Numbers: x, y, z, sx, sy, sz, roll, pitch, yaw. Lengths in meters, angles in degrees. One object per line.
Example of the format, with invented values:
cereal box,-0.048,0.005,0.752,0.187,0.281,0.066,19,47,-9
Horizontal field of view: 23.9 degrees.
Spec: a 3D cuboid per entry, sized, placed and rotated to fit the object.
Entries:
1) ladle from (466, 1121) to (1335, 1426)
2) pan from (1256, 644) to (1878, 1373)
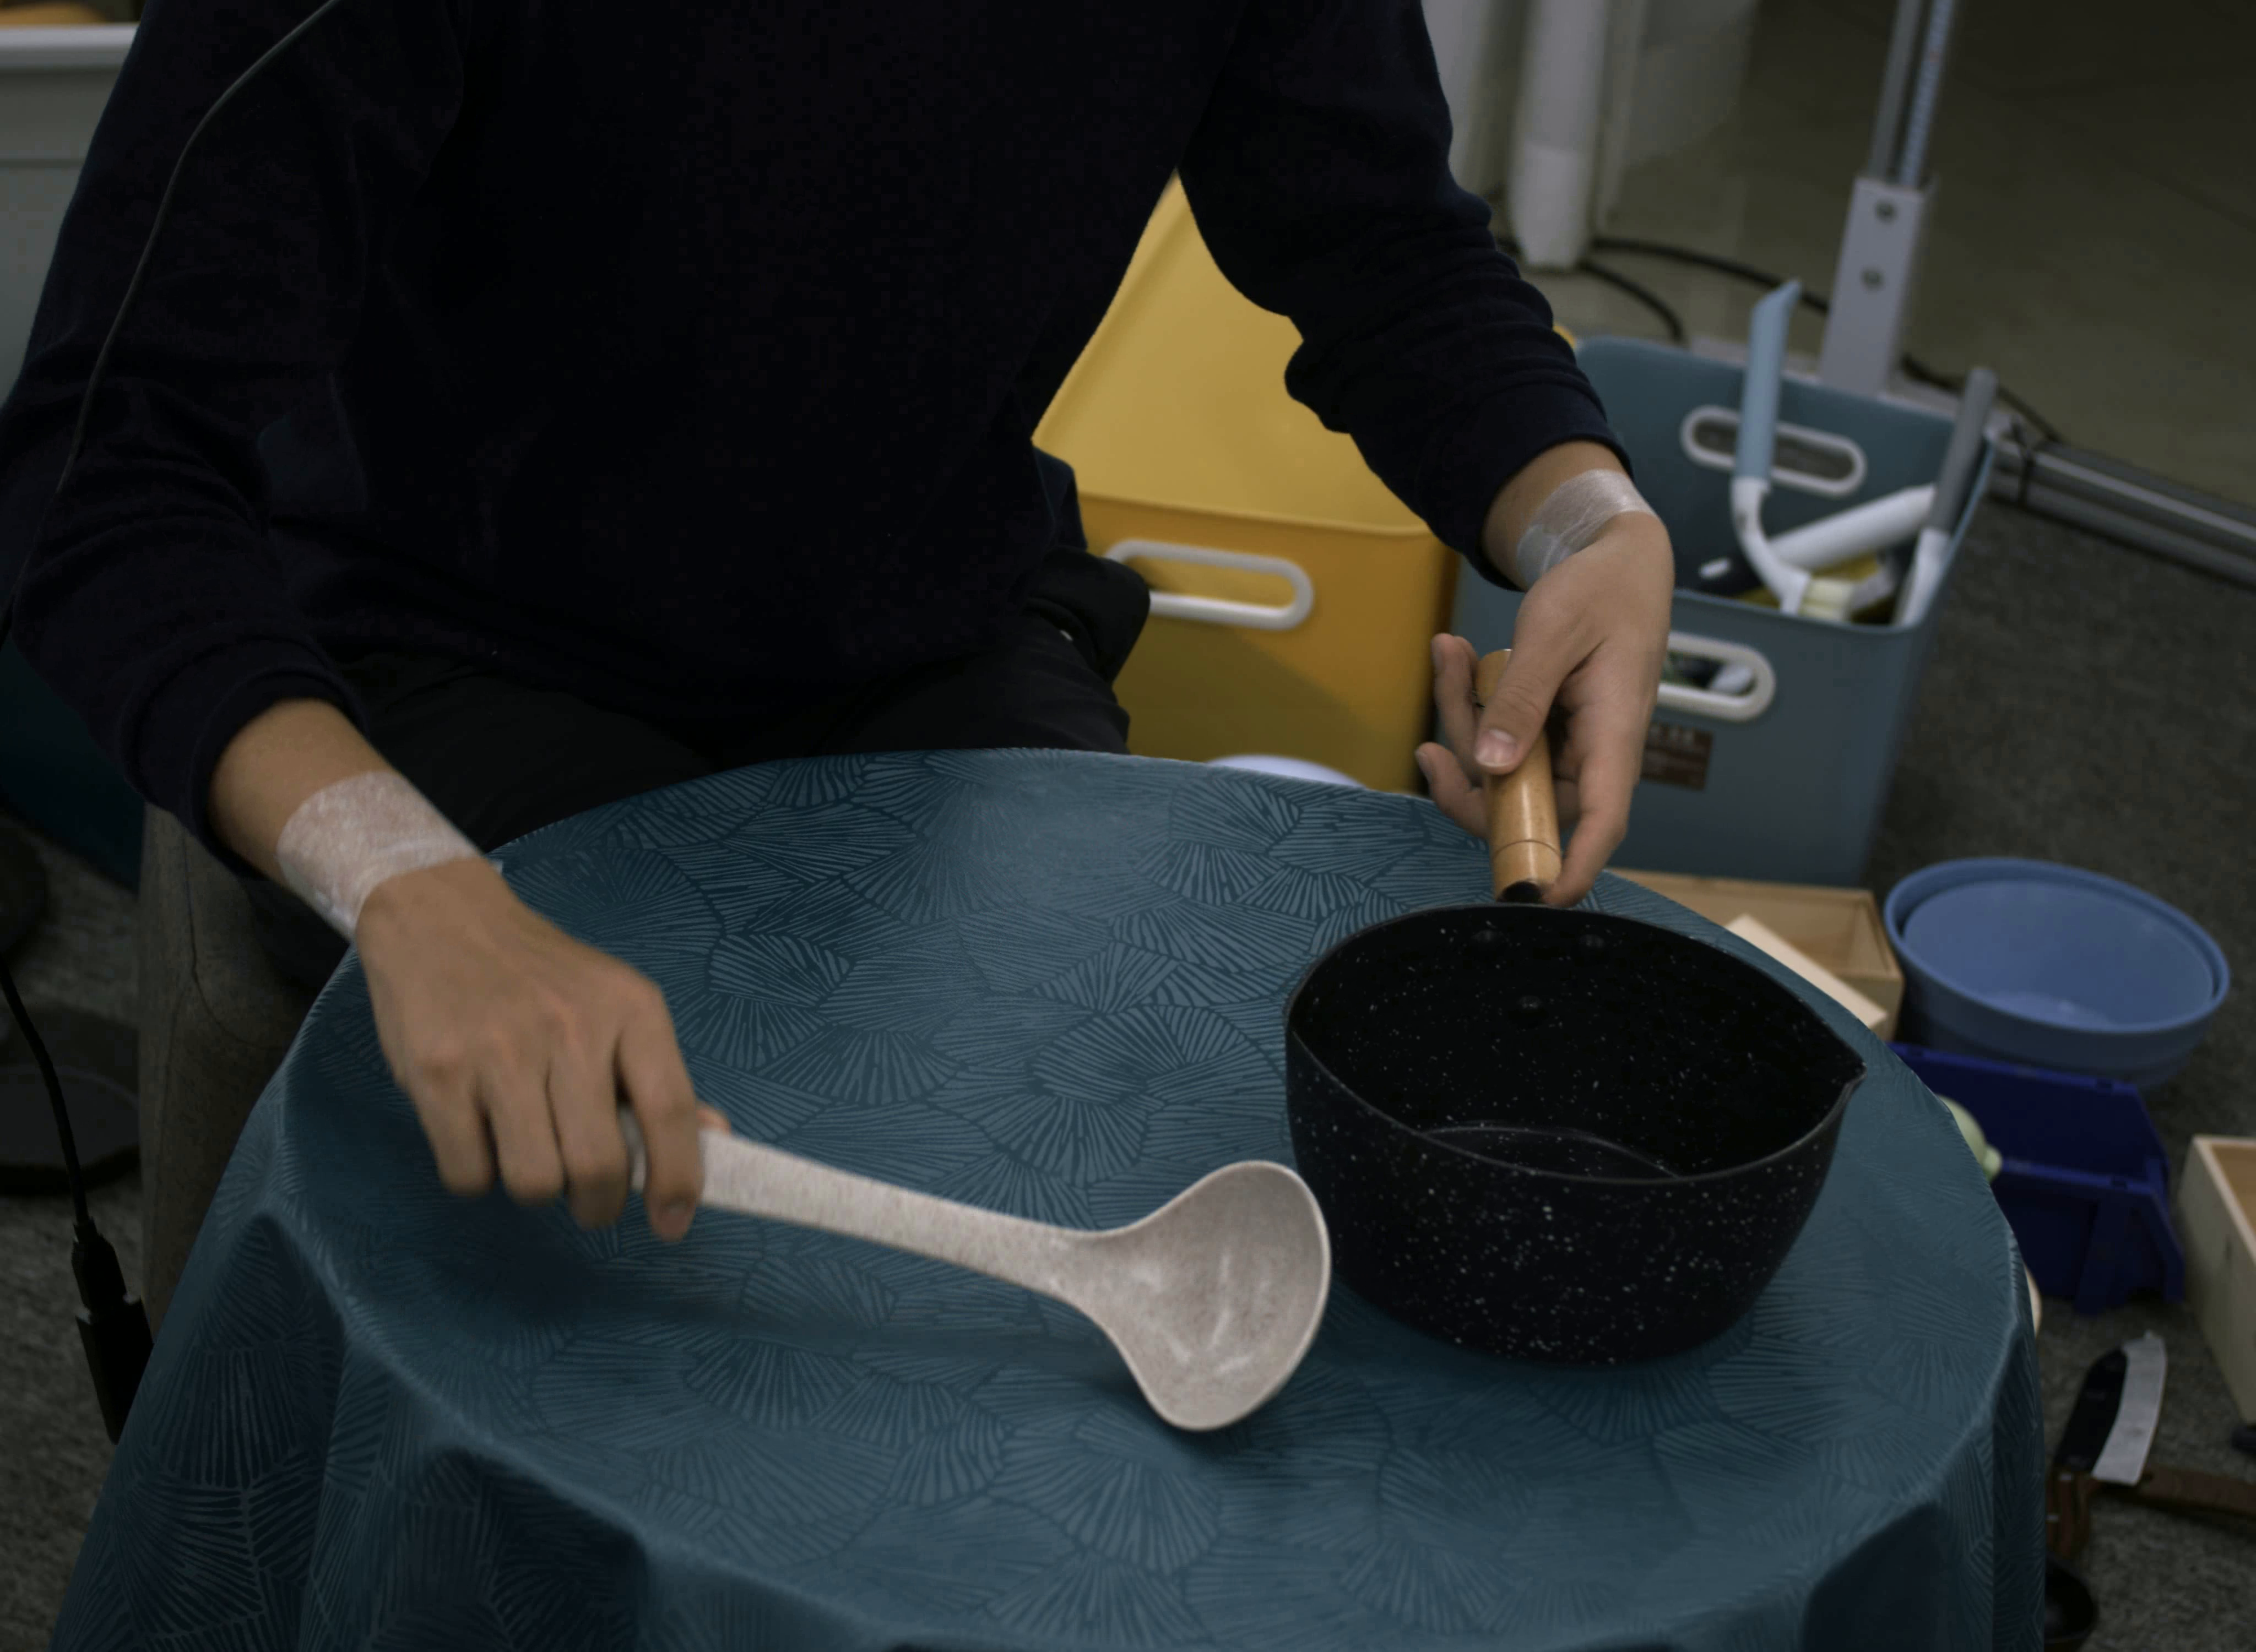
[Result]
ladle,-0.071,0.123,1.673,0.273,0.069,0.090,14,71,-7
pan,0.140,0.059,1.842,0.207,0.108,0.345,3,28,-4
